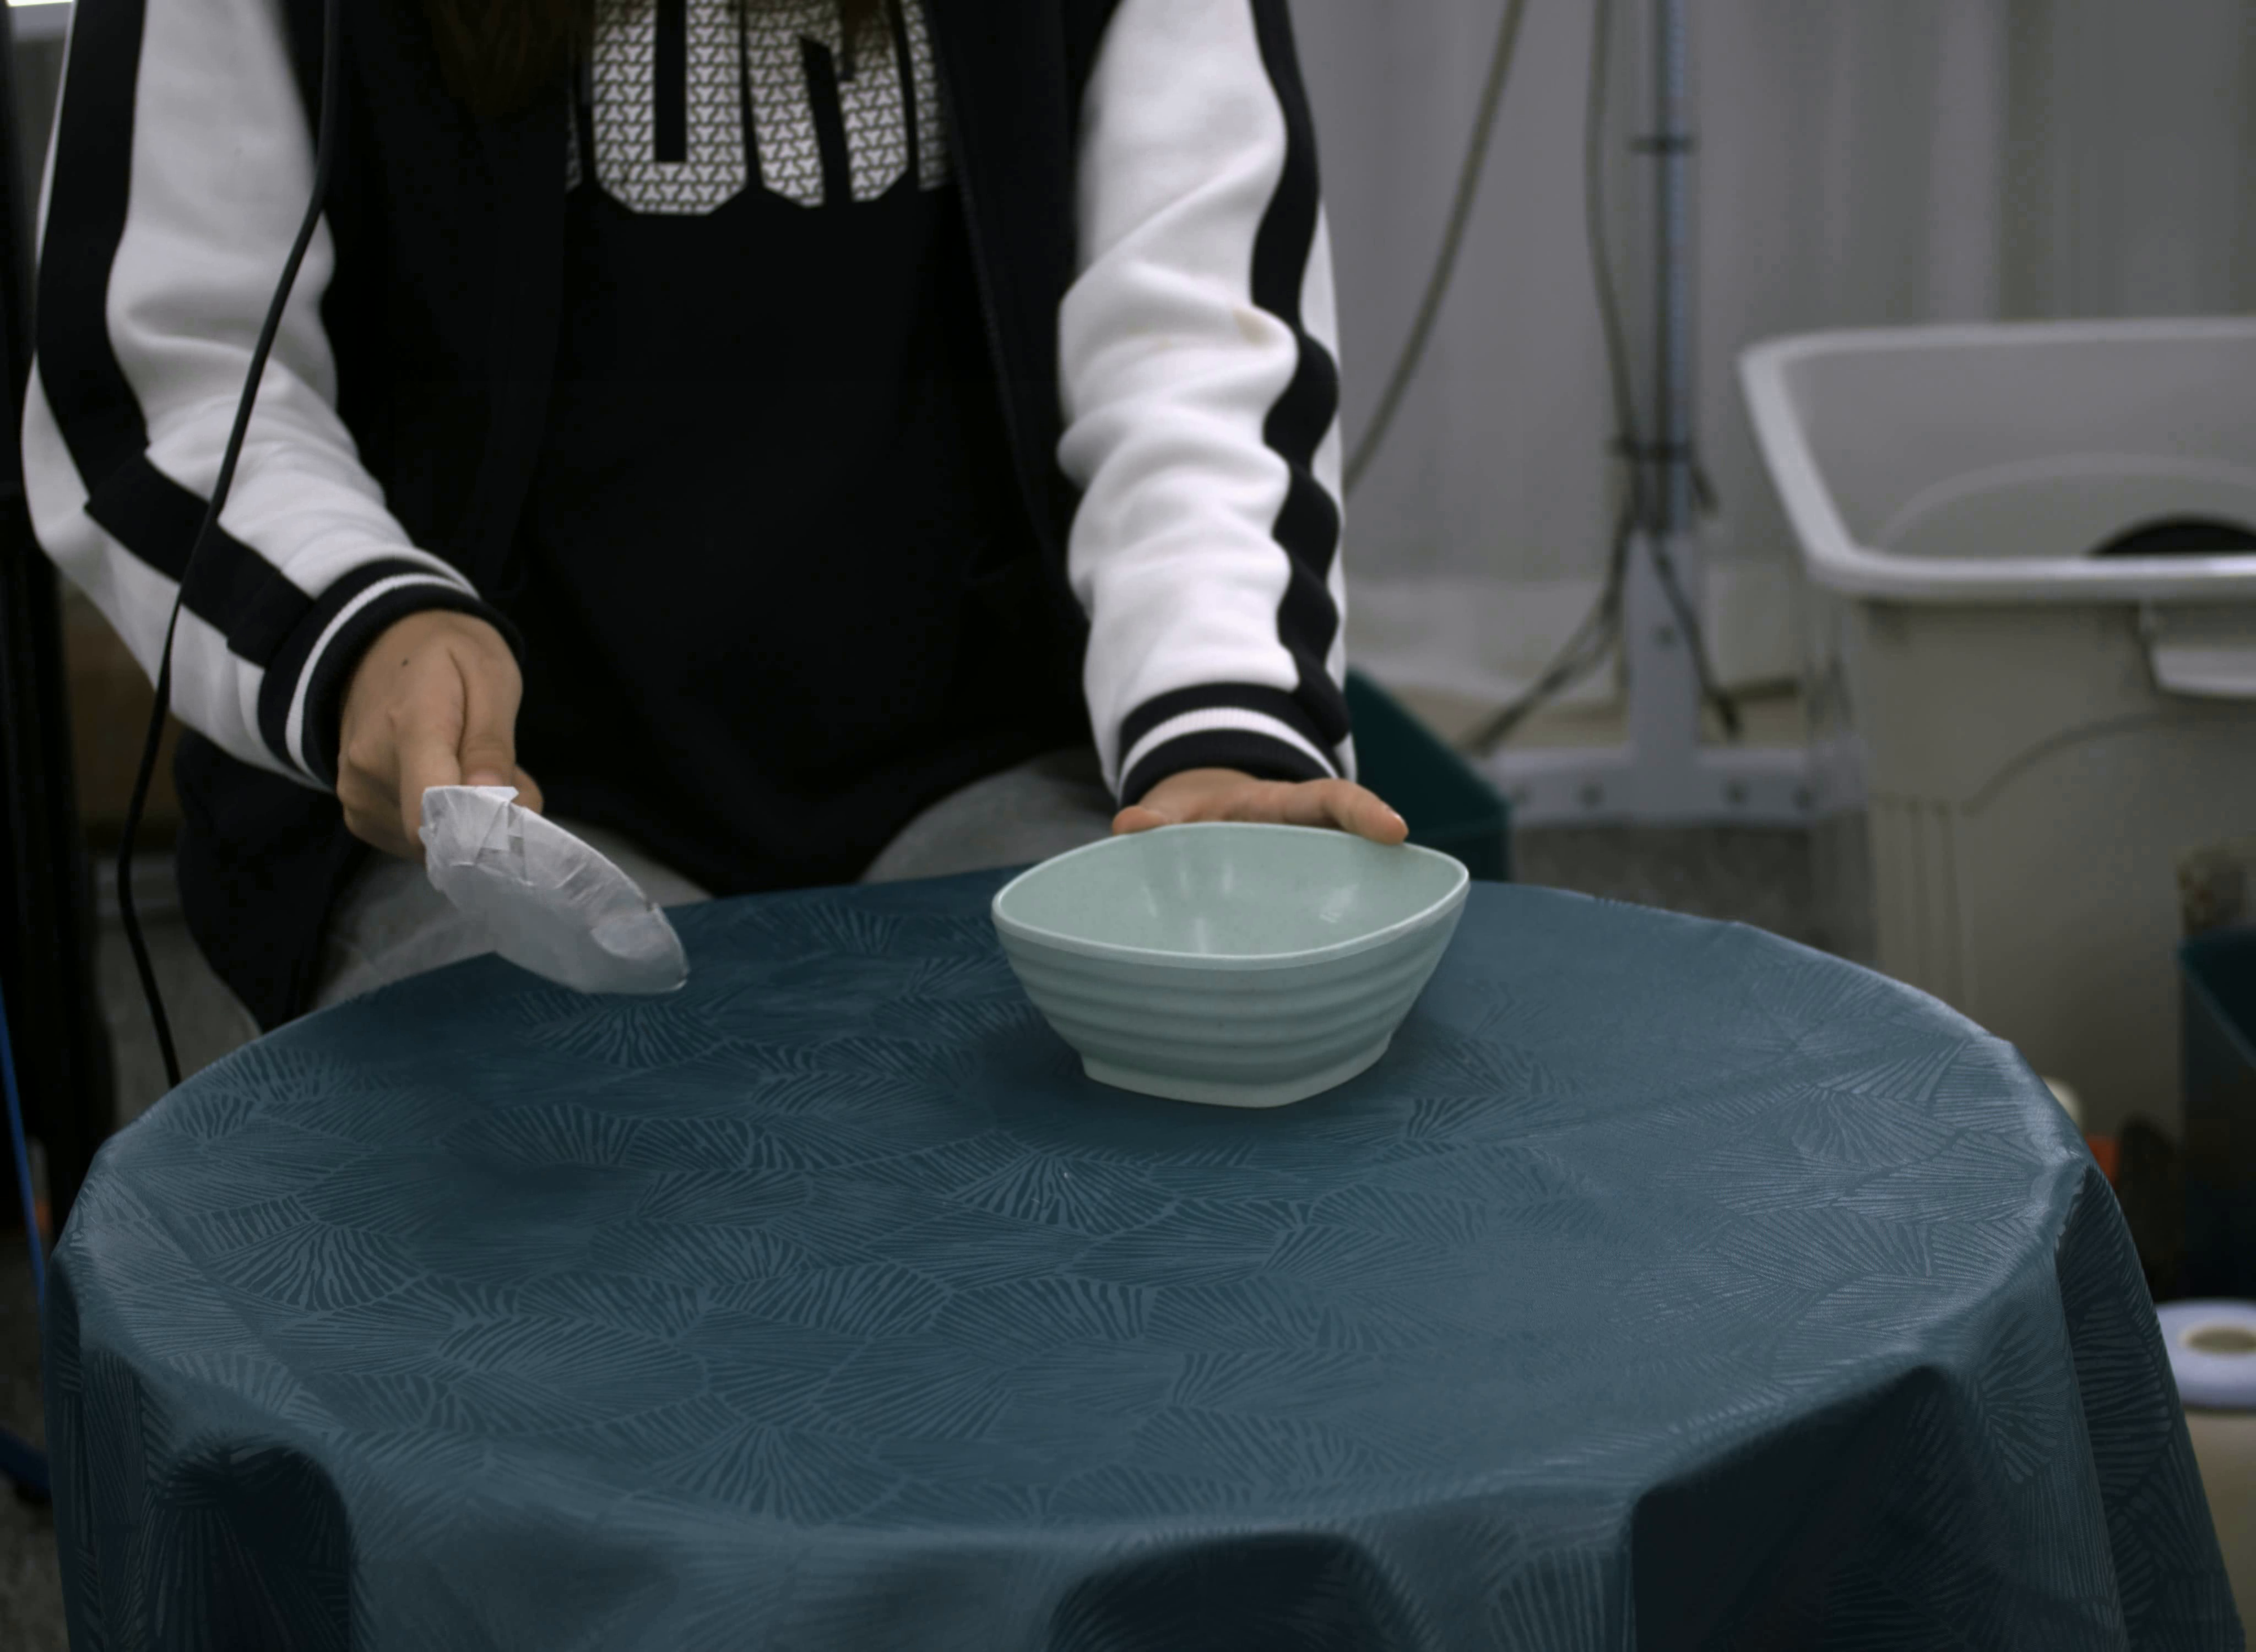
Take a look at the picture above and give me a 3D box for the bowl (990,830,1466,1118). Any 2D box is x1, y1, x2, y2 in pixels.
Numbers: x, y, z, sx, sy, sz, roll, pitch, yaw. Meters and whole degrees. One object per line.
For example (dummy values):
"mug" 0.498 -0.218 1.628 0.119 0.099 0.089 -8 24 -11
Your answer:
"bowl" 0.032 0.049 1.665 0.150 0.058 0.152 -3 15 -1

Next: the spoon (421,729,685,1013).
"spoon" -0.180 -0.004 1.675 0.059 0.100 0.279 -38 15 5
